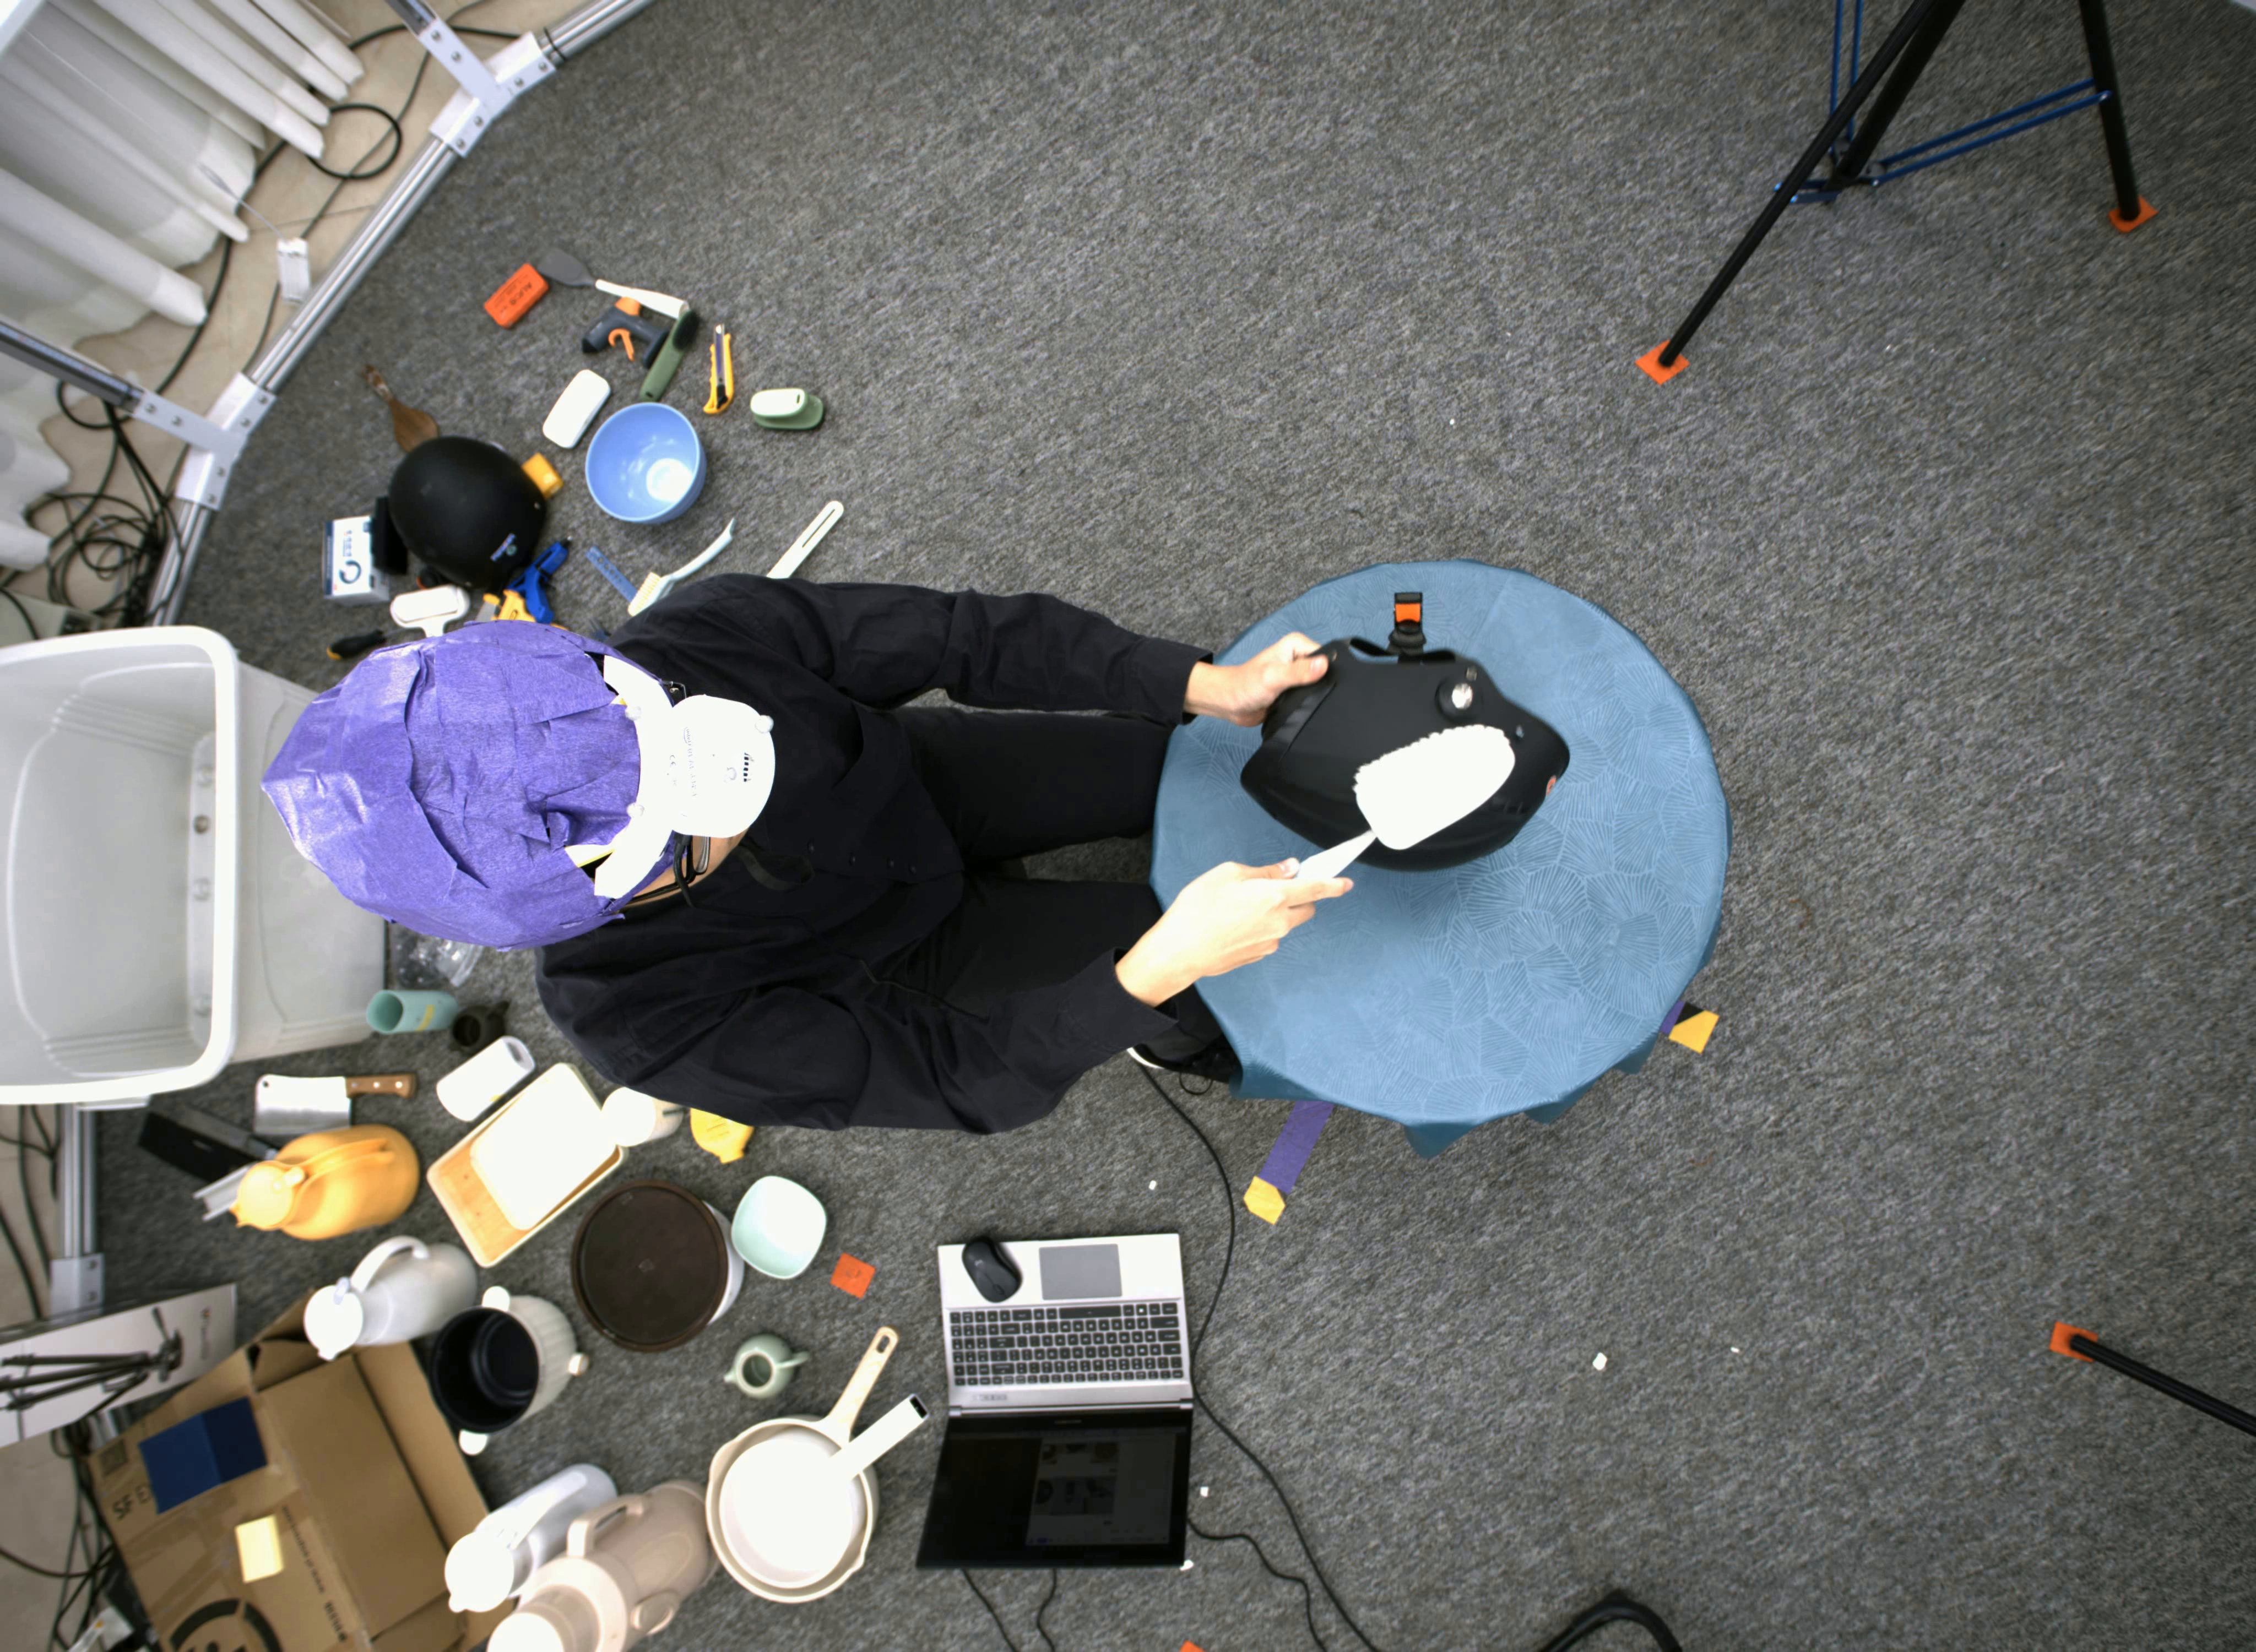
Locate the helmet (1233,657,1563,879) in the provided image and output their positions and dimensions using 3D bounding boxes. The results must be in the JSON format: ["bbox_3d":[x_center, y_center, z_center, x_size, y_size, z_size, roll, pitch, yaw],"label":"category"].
[{"bbox_3d":[0.240,-0.041,1.248,0.277,0.250,0.170,16,73,7],"label":"helmet"}]

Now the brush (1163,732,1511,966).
[{"bbox_3d":[0.166,0.013,1.143,0.327,0.085,0.082,-31,66,7],"label":"brush"}]
